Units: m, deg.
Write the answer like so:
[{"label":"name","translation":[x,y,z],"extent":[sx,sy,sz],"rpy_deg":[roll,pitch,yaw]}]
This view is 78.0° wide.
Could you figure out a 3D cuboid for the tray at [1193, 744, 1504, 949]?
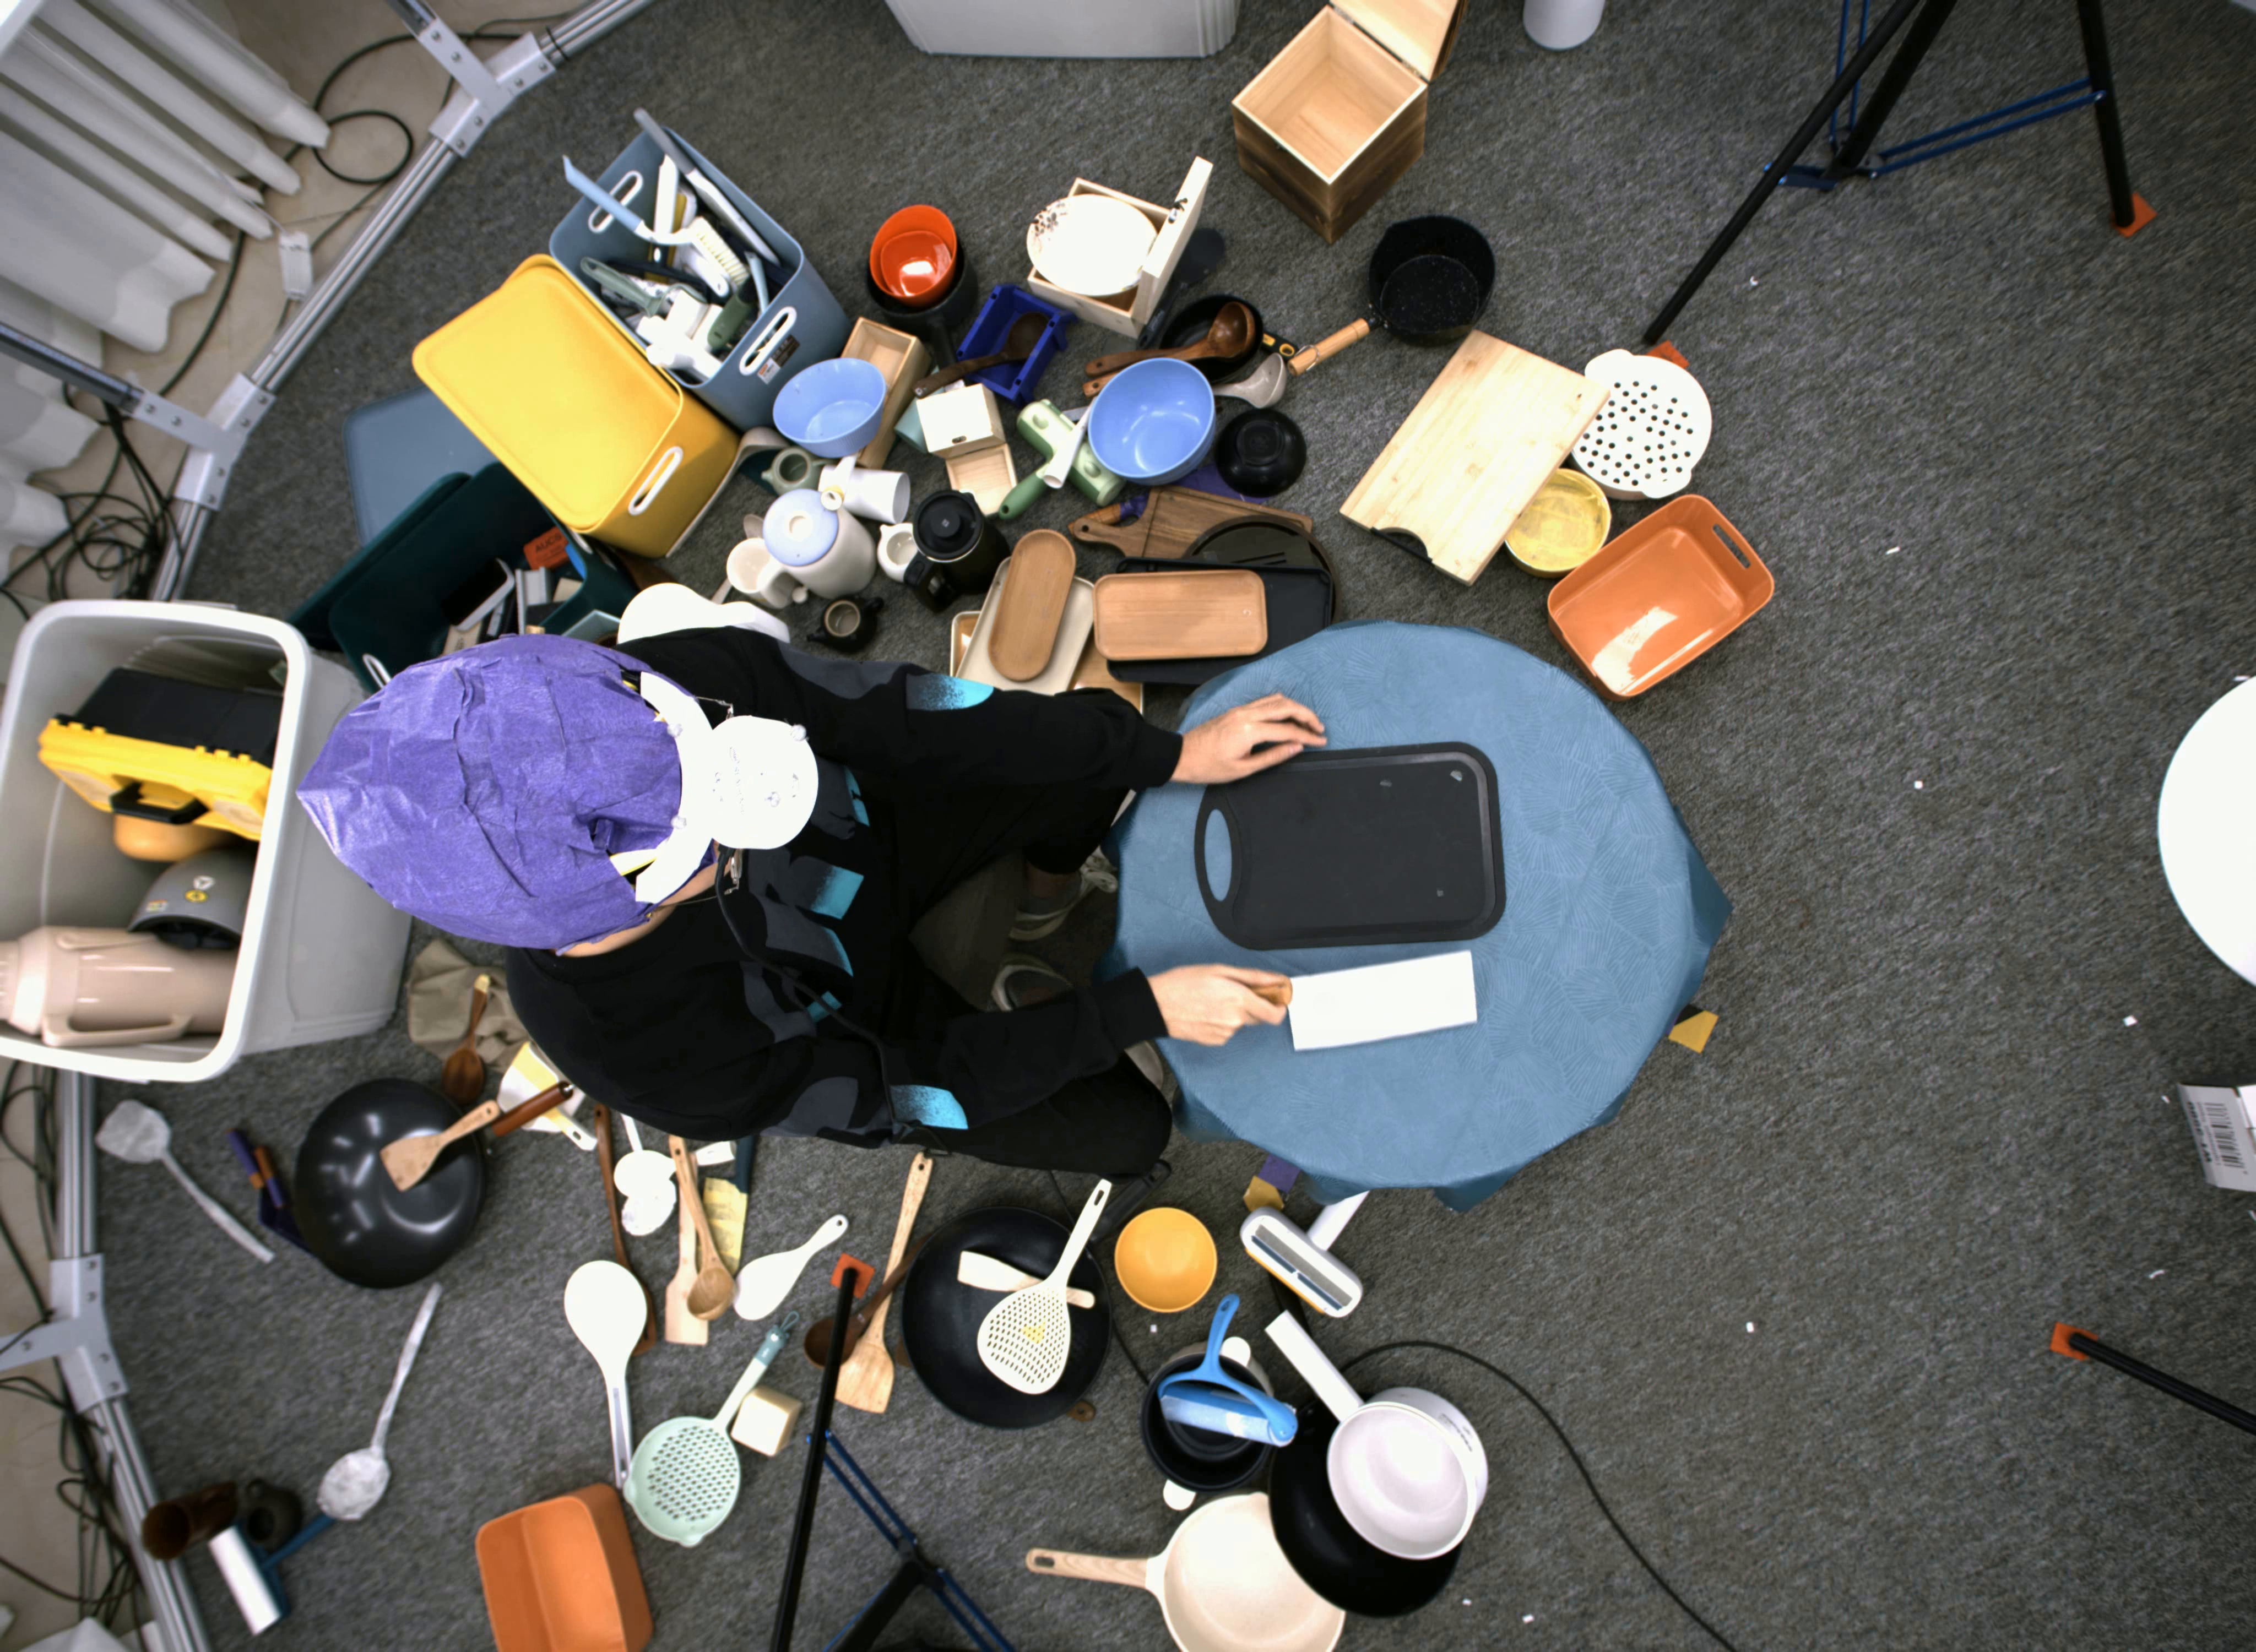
[{"label":"tray","translation":[0.230,0.022,1.466],"extent":[0.327,0.010,0.210],"rpy_deg":[-3,86,10]}]

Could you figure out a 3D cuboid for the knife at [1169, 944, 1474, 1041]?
[{"label":"knife","translation":[0.199,0.178,1.414],"extent":[0.307,0.020,0.095],"rpy_deg":[-10,123,9]}]
